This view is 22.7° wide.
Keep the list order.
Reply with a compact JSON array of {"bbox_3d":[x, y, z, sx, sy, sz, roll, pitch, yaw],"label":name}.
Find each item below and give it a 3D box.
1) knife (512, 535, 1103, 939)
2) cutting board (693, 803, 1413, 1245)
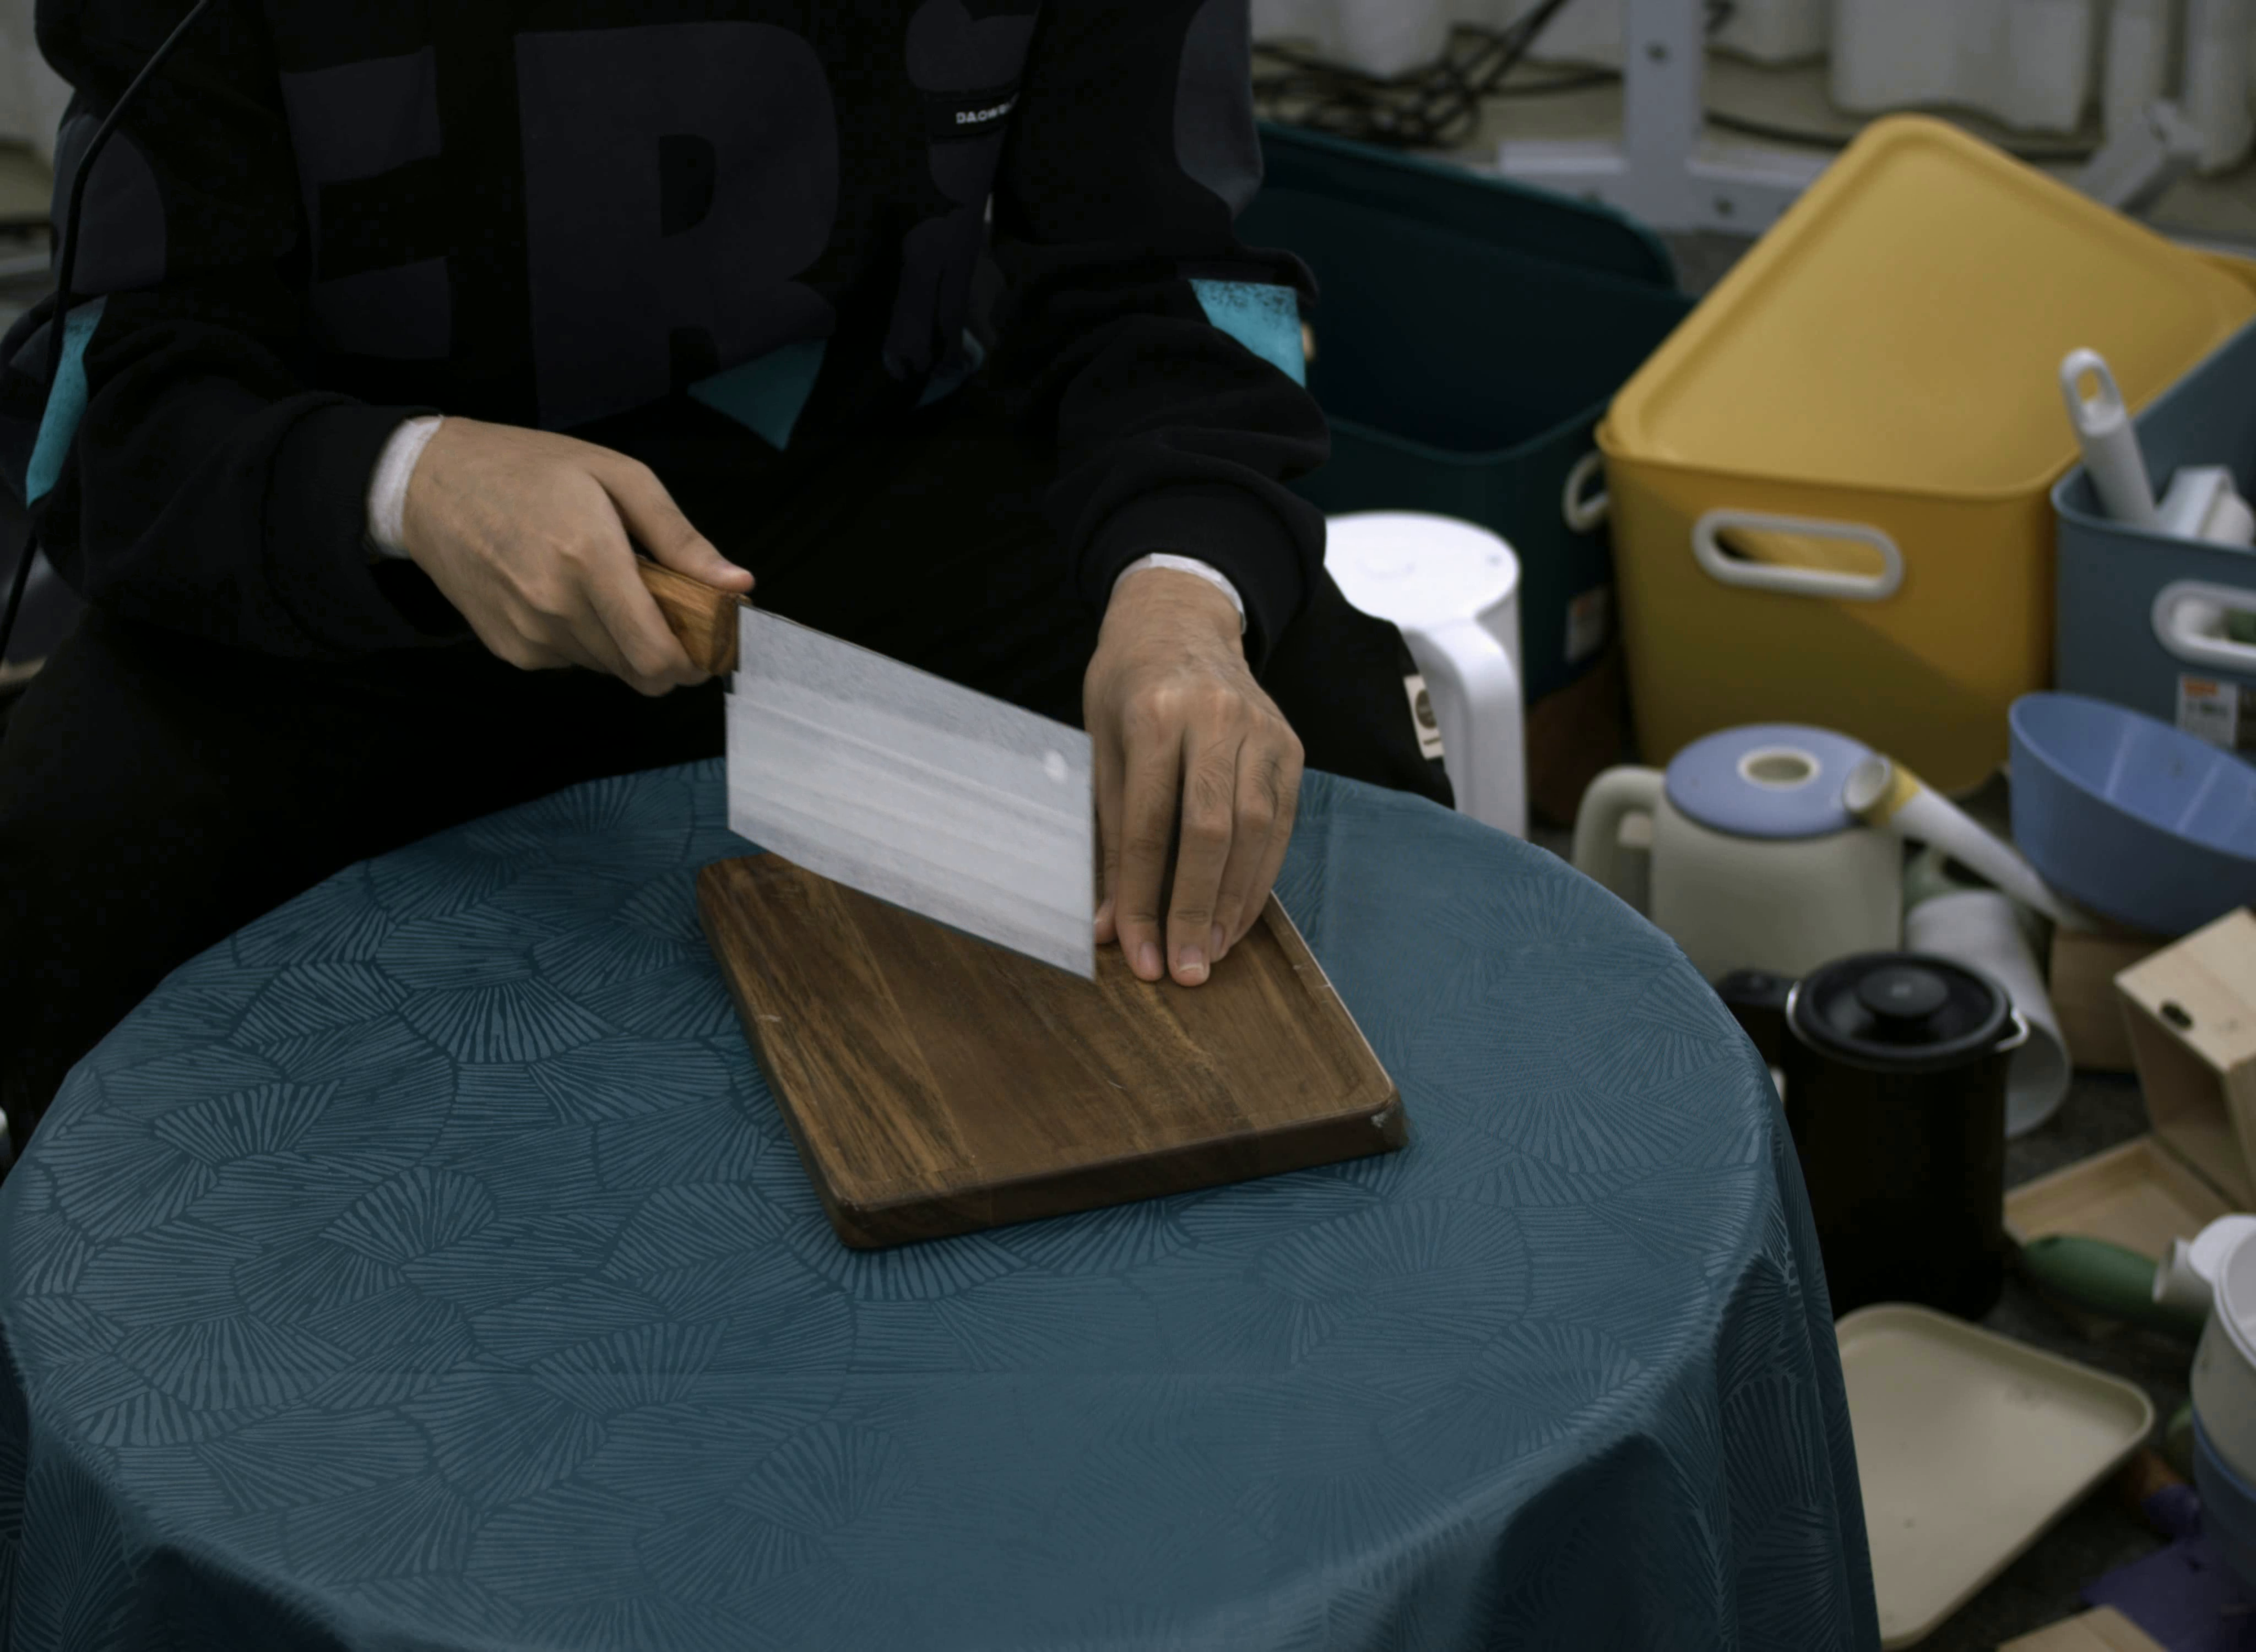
[{"bbox_3d":[-0.114,-0.029,1.951,0.021,0.092,0.305,-19,28,-40],"label":"knife"},{"bbox_3d":[-0.044,0.044,2.002,0.201,0.023,0.355,-9,26,-13],"label":"cutting board"}]
